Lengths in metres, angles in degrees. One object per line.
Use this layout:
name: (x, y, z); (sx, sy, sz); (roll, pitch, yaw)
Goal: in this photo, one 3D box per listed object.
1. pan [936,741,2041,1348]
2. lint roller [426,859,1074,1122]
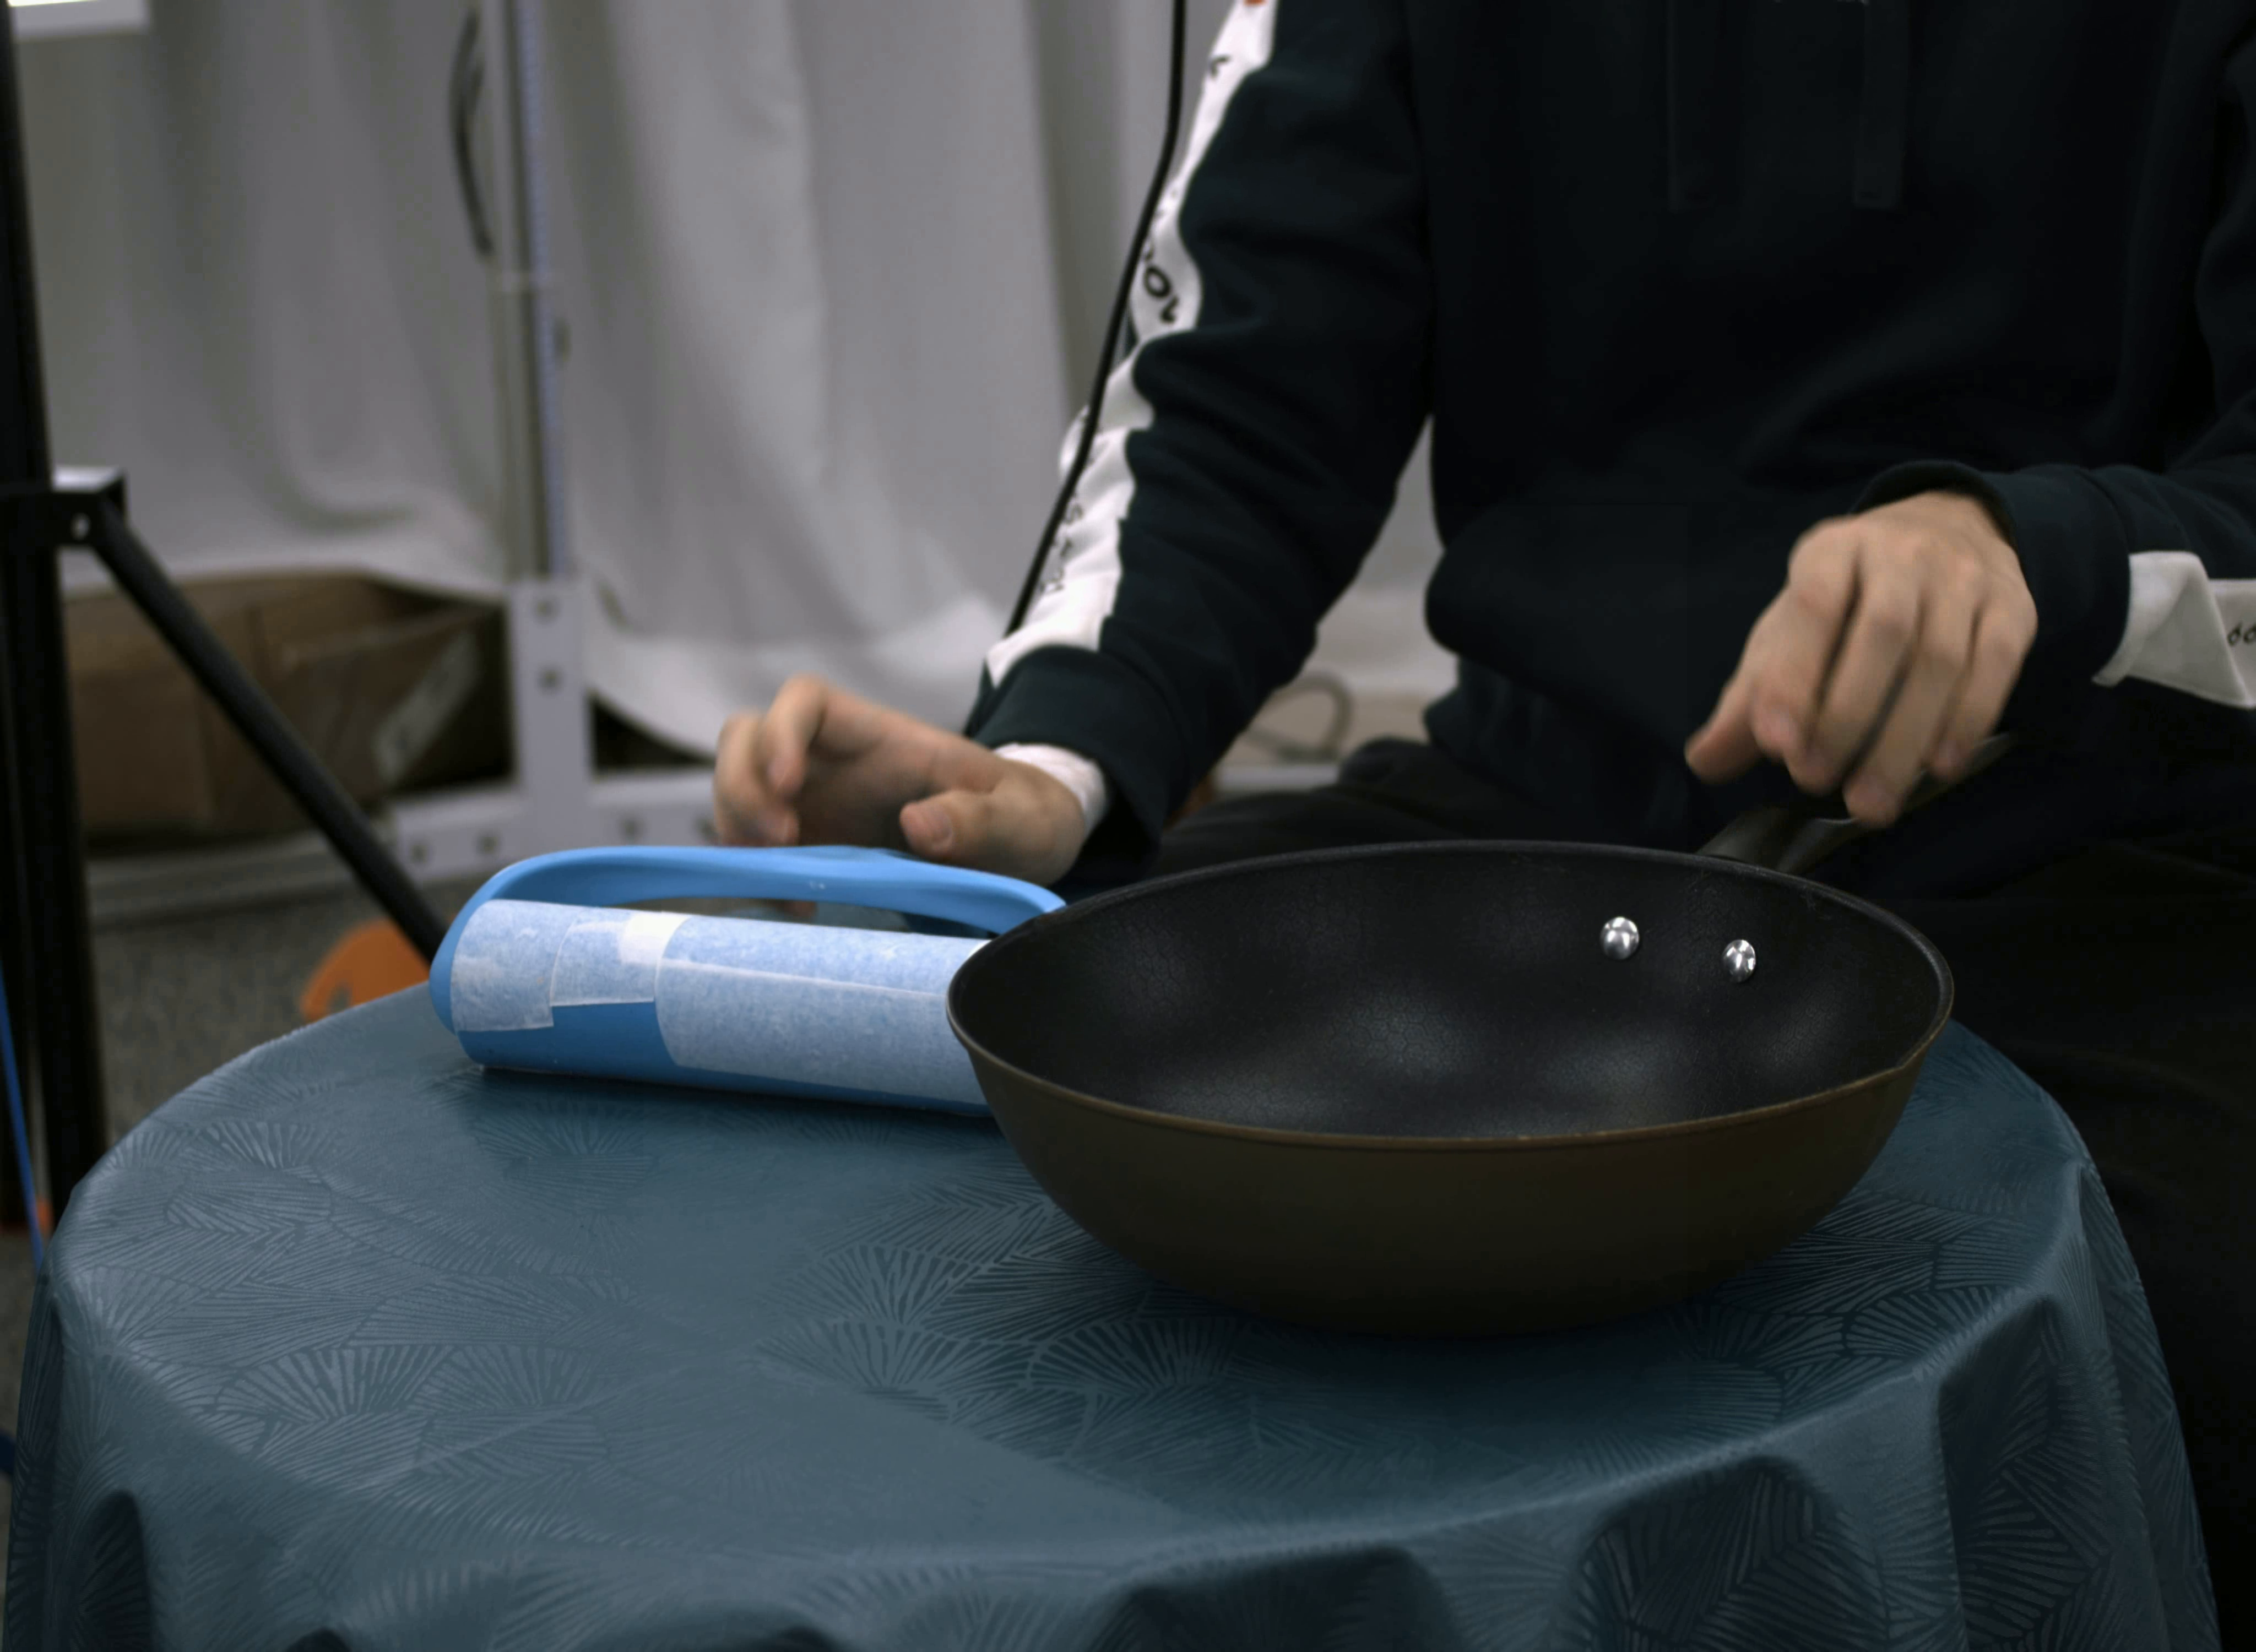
pan: (0.142, 0.060, 1.554); (0.294, 0.087, 0.453); (10, 19, 37)
lint roller: (-0.095, 0.041, 1.709); (0.231, 0.068, 0.178); (1, 17, 21)
